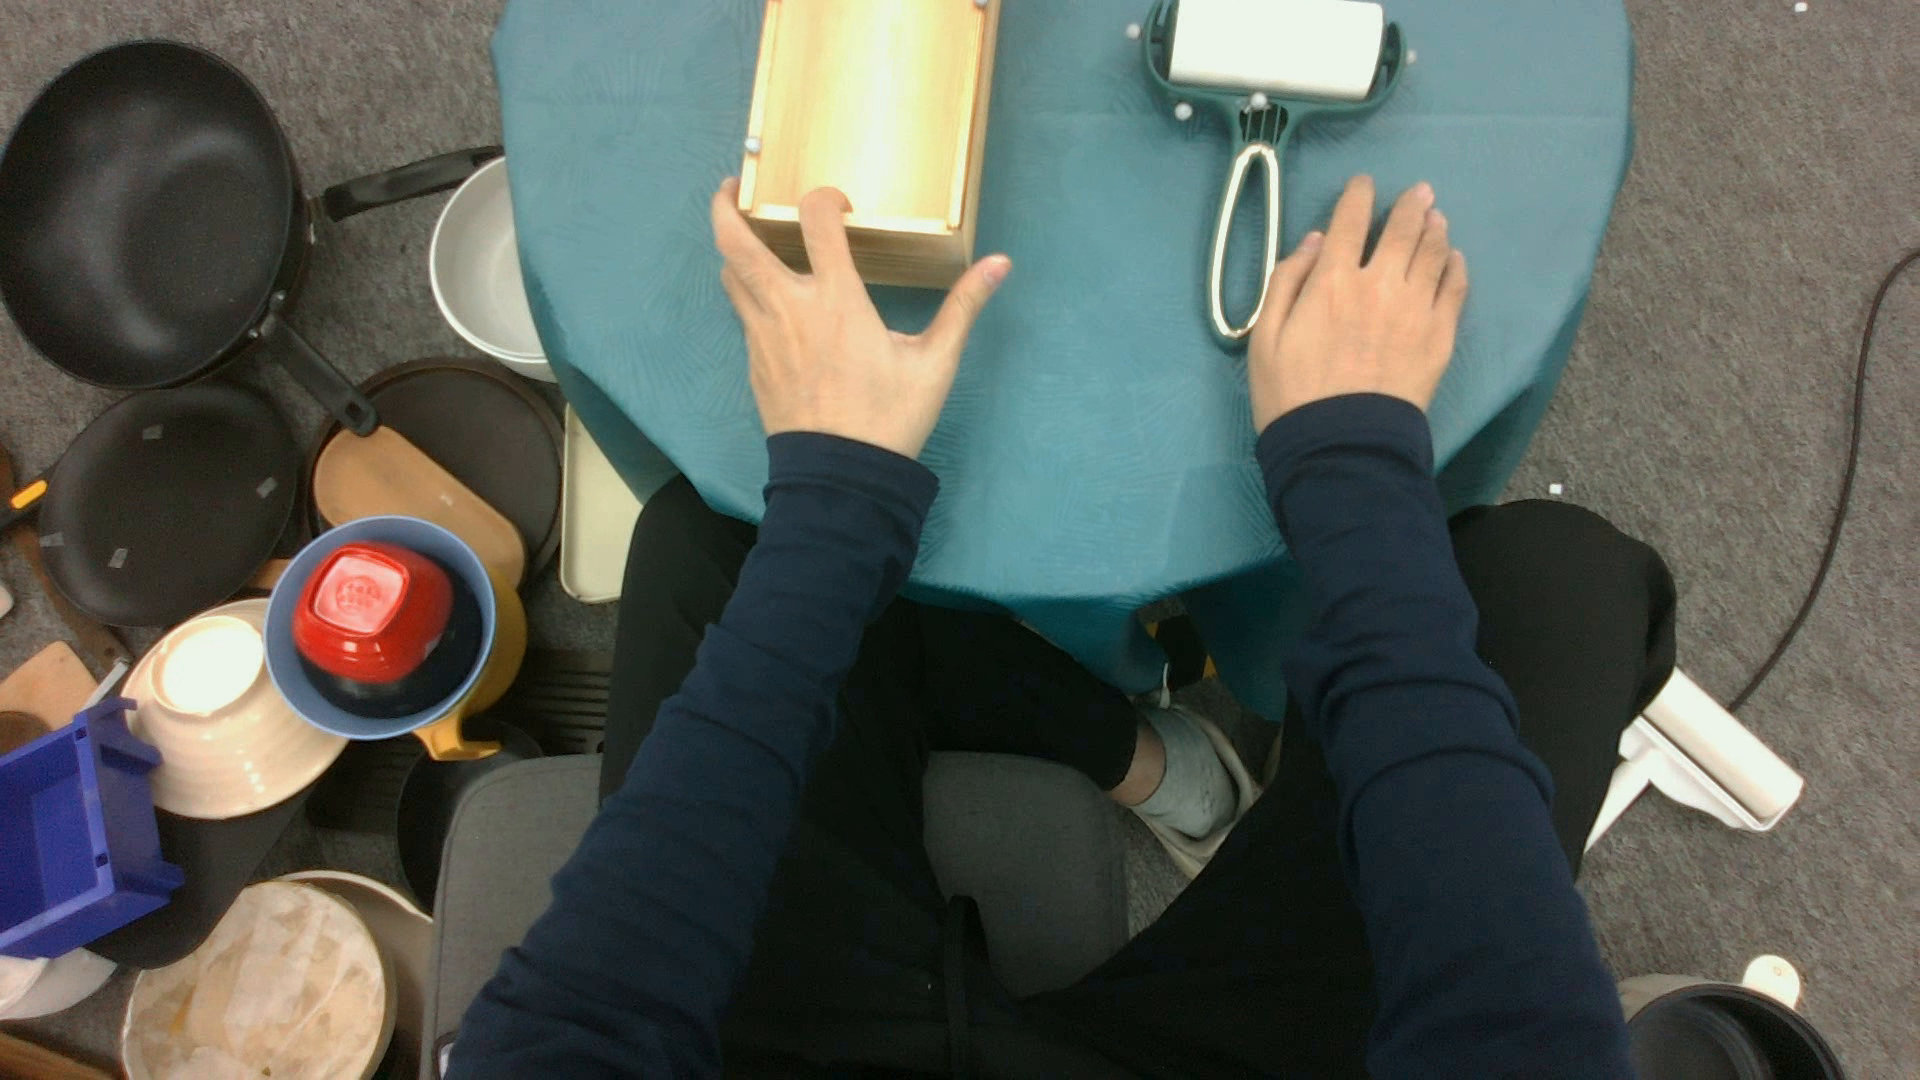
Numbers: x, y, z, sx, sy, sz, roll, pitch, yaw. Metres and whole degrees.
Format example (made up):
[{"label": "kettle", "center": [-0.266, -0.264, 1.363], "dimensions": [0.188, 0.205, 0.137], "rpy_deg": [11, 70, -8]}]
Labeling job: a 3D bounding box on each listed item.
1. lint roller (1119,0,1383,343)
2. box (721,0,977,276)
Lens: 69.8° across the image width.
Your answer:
[{"label": "lint roller", "center": [0.140, -0.192, 0.698], "dimensions": [0.134, 0.048, 0.180], "rpy_deg": [6, 82, 3]}, {"label": "box", "center": [-0.048, -0.250, 0.694], "dimensions": [0.107, 0.080, 0.211], "rpy_deg": [5, 81, 2]}]
